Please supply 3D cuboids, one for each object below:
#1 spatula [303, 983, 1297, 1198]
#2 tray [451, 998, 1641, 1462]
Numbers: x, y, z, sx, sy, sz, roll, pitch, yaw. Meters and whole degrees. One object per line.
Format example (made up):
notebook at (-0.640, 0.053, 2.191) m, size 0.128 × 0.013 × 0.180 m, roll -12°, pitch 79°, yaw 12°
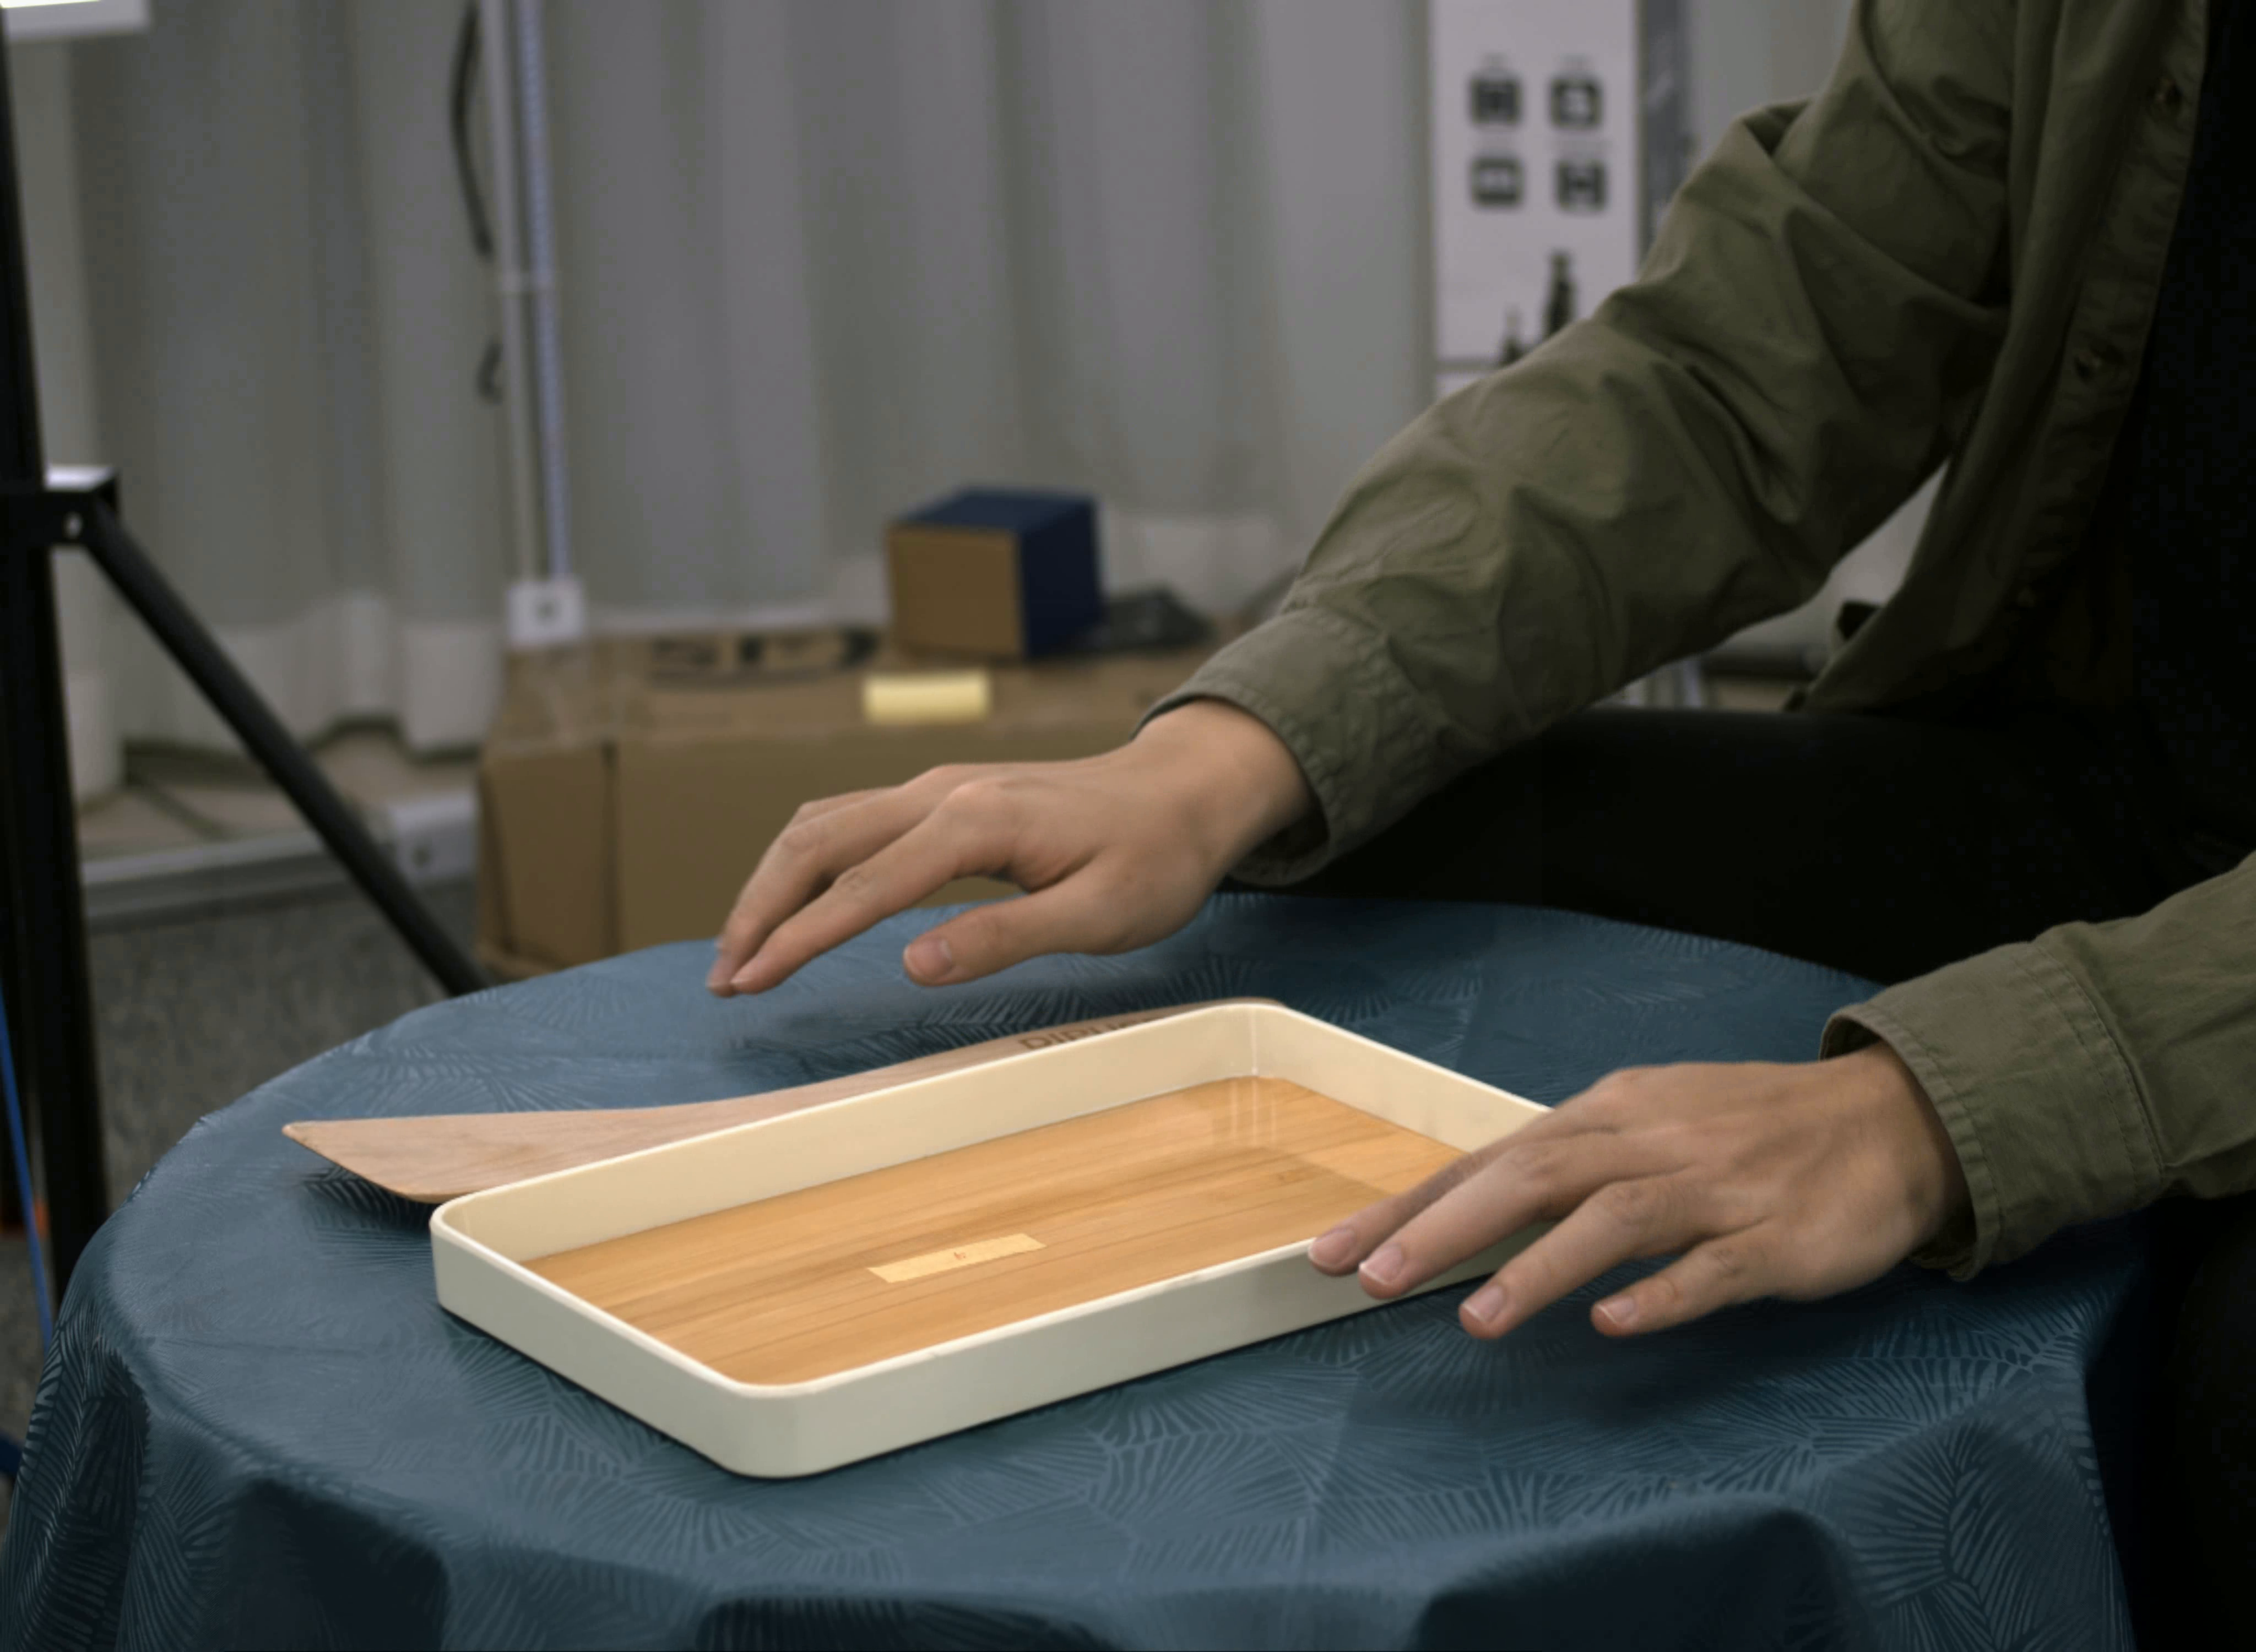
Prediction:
spatula at (-0.089, 0.078, 1.649) m, size 0.321 × 0.016 × 0.081 m, roll -11°, pitch 18°, yaw -25°
tray at (-0.022, 0.110, 1.508) m, size 0.293 × 0.027 × 0.196 m, roll -11°, pitch 19°, yaw -32°
